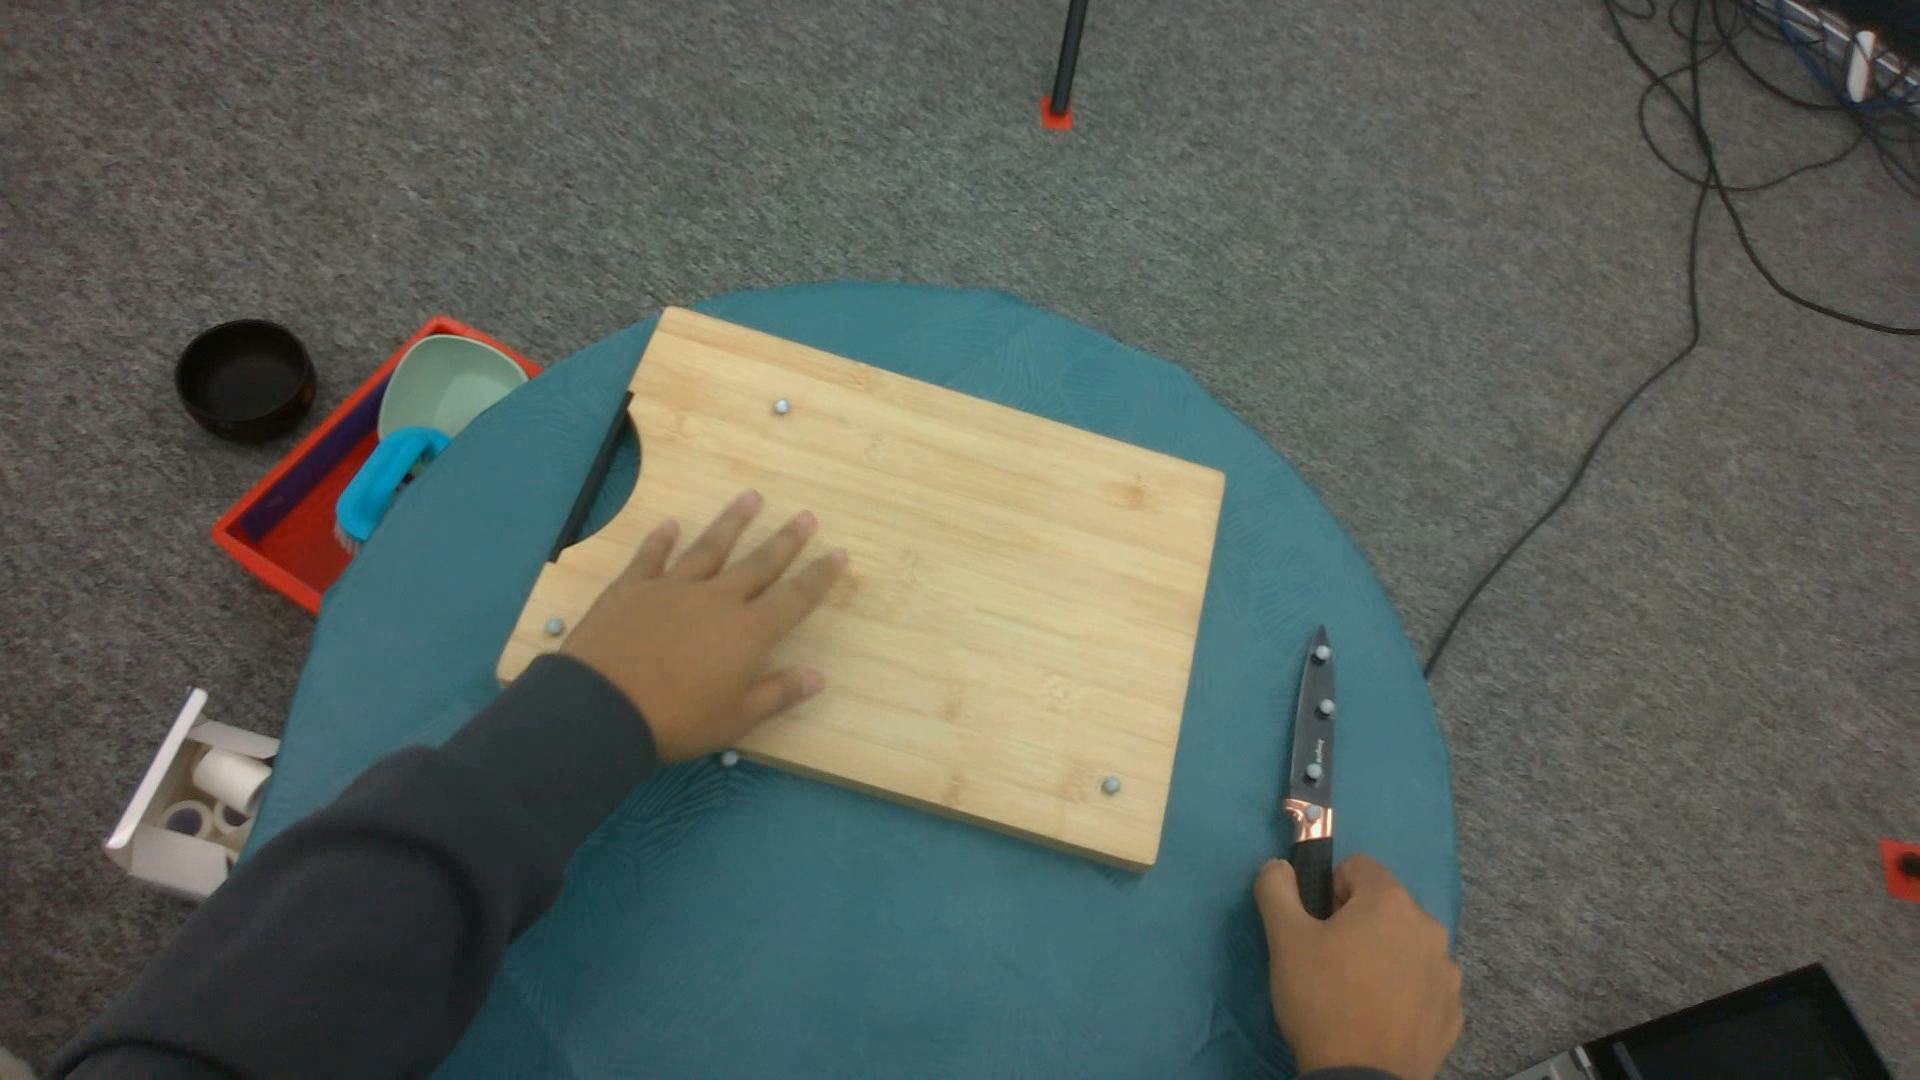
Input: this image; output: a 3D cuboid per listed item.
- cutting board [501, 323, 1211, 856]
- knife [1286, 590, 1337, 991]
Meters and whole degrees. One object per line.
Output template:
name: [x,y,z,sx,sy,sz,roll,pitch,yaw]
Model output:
cutting board: [-0.042,0.019,0.759,0.349,0.023,0.252,12,60,-2]
knife: [0.186,0.124,0.730,0.026,0.017,0.226,10,58,0]
